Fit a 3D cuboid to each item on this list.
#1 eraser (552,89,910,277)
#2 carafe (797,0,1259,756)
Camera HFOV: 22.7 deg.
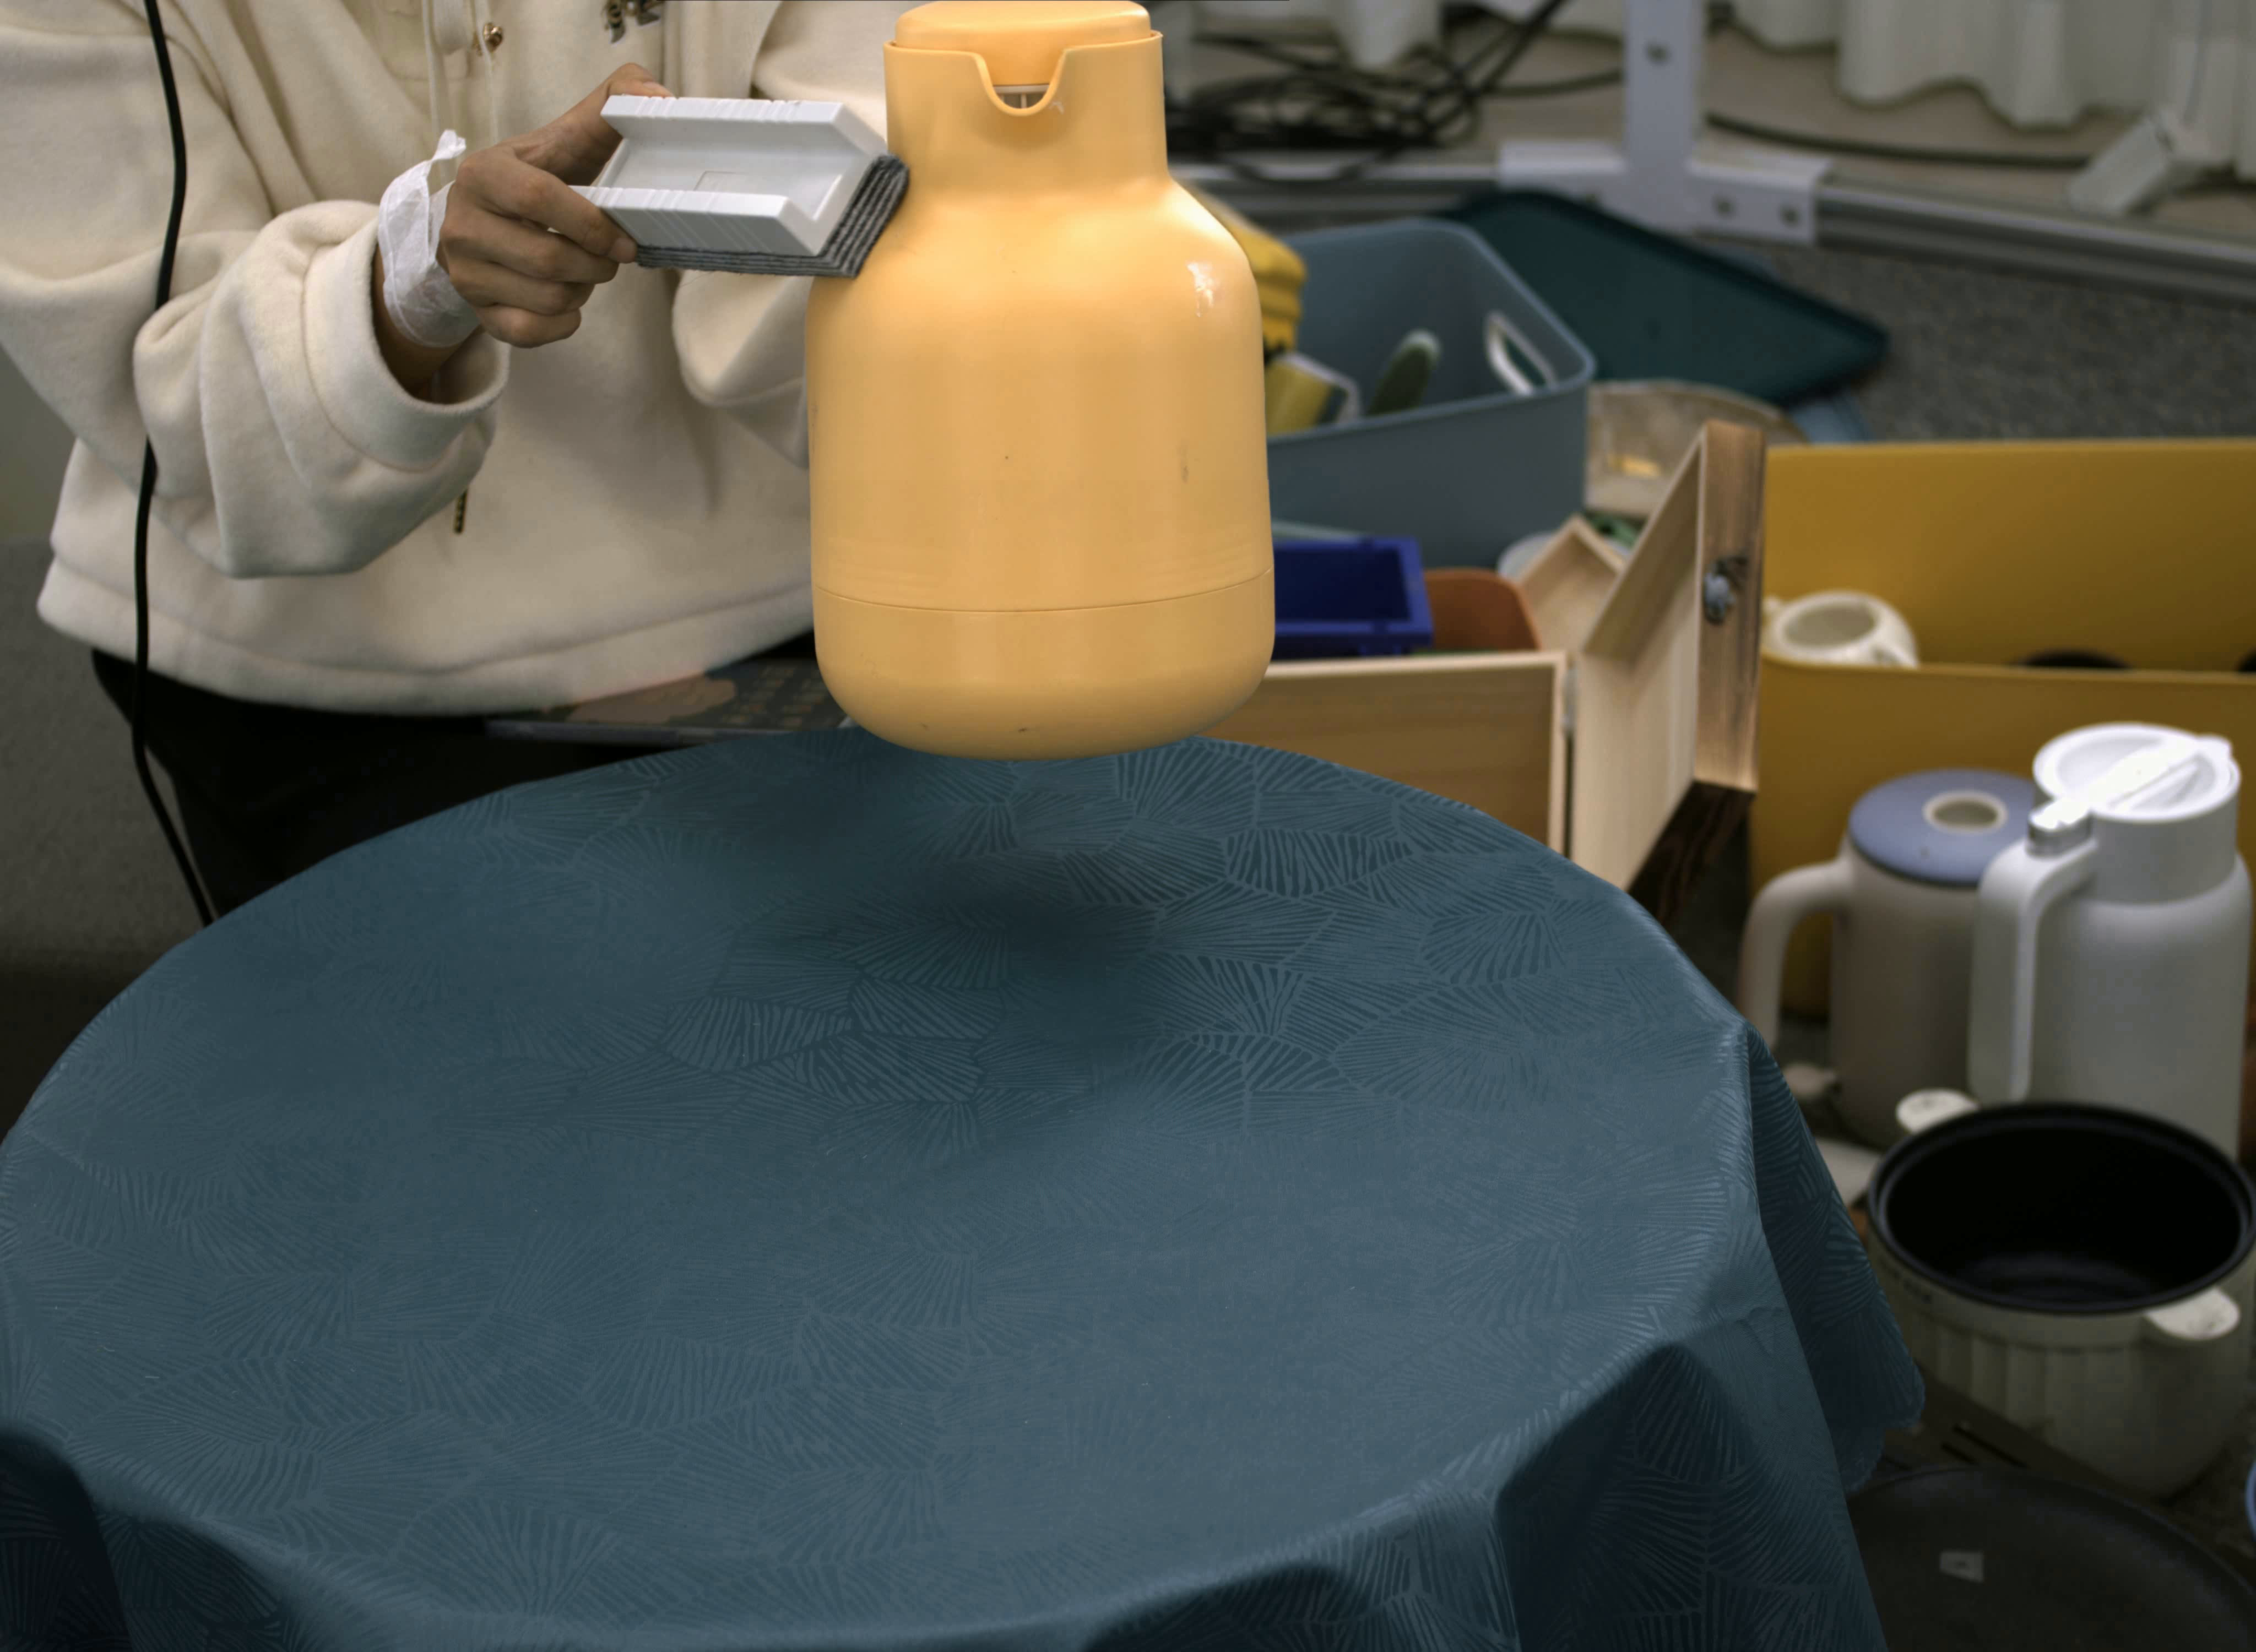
[{"bbox_3d":[-0.138,-0.221,1.957,0.133,0.046,0.050,6,66,47],"label":"eraser"},{"bbox_3d":[-0.033,-0.167,1.986,0.162,0.259,0.204,2,13,1],"label":"carafe"}]
